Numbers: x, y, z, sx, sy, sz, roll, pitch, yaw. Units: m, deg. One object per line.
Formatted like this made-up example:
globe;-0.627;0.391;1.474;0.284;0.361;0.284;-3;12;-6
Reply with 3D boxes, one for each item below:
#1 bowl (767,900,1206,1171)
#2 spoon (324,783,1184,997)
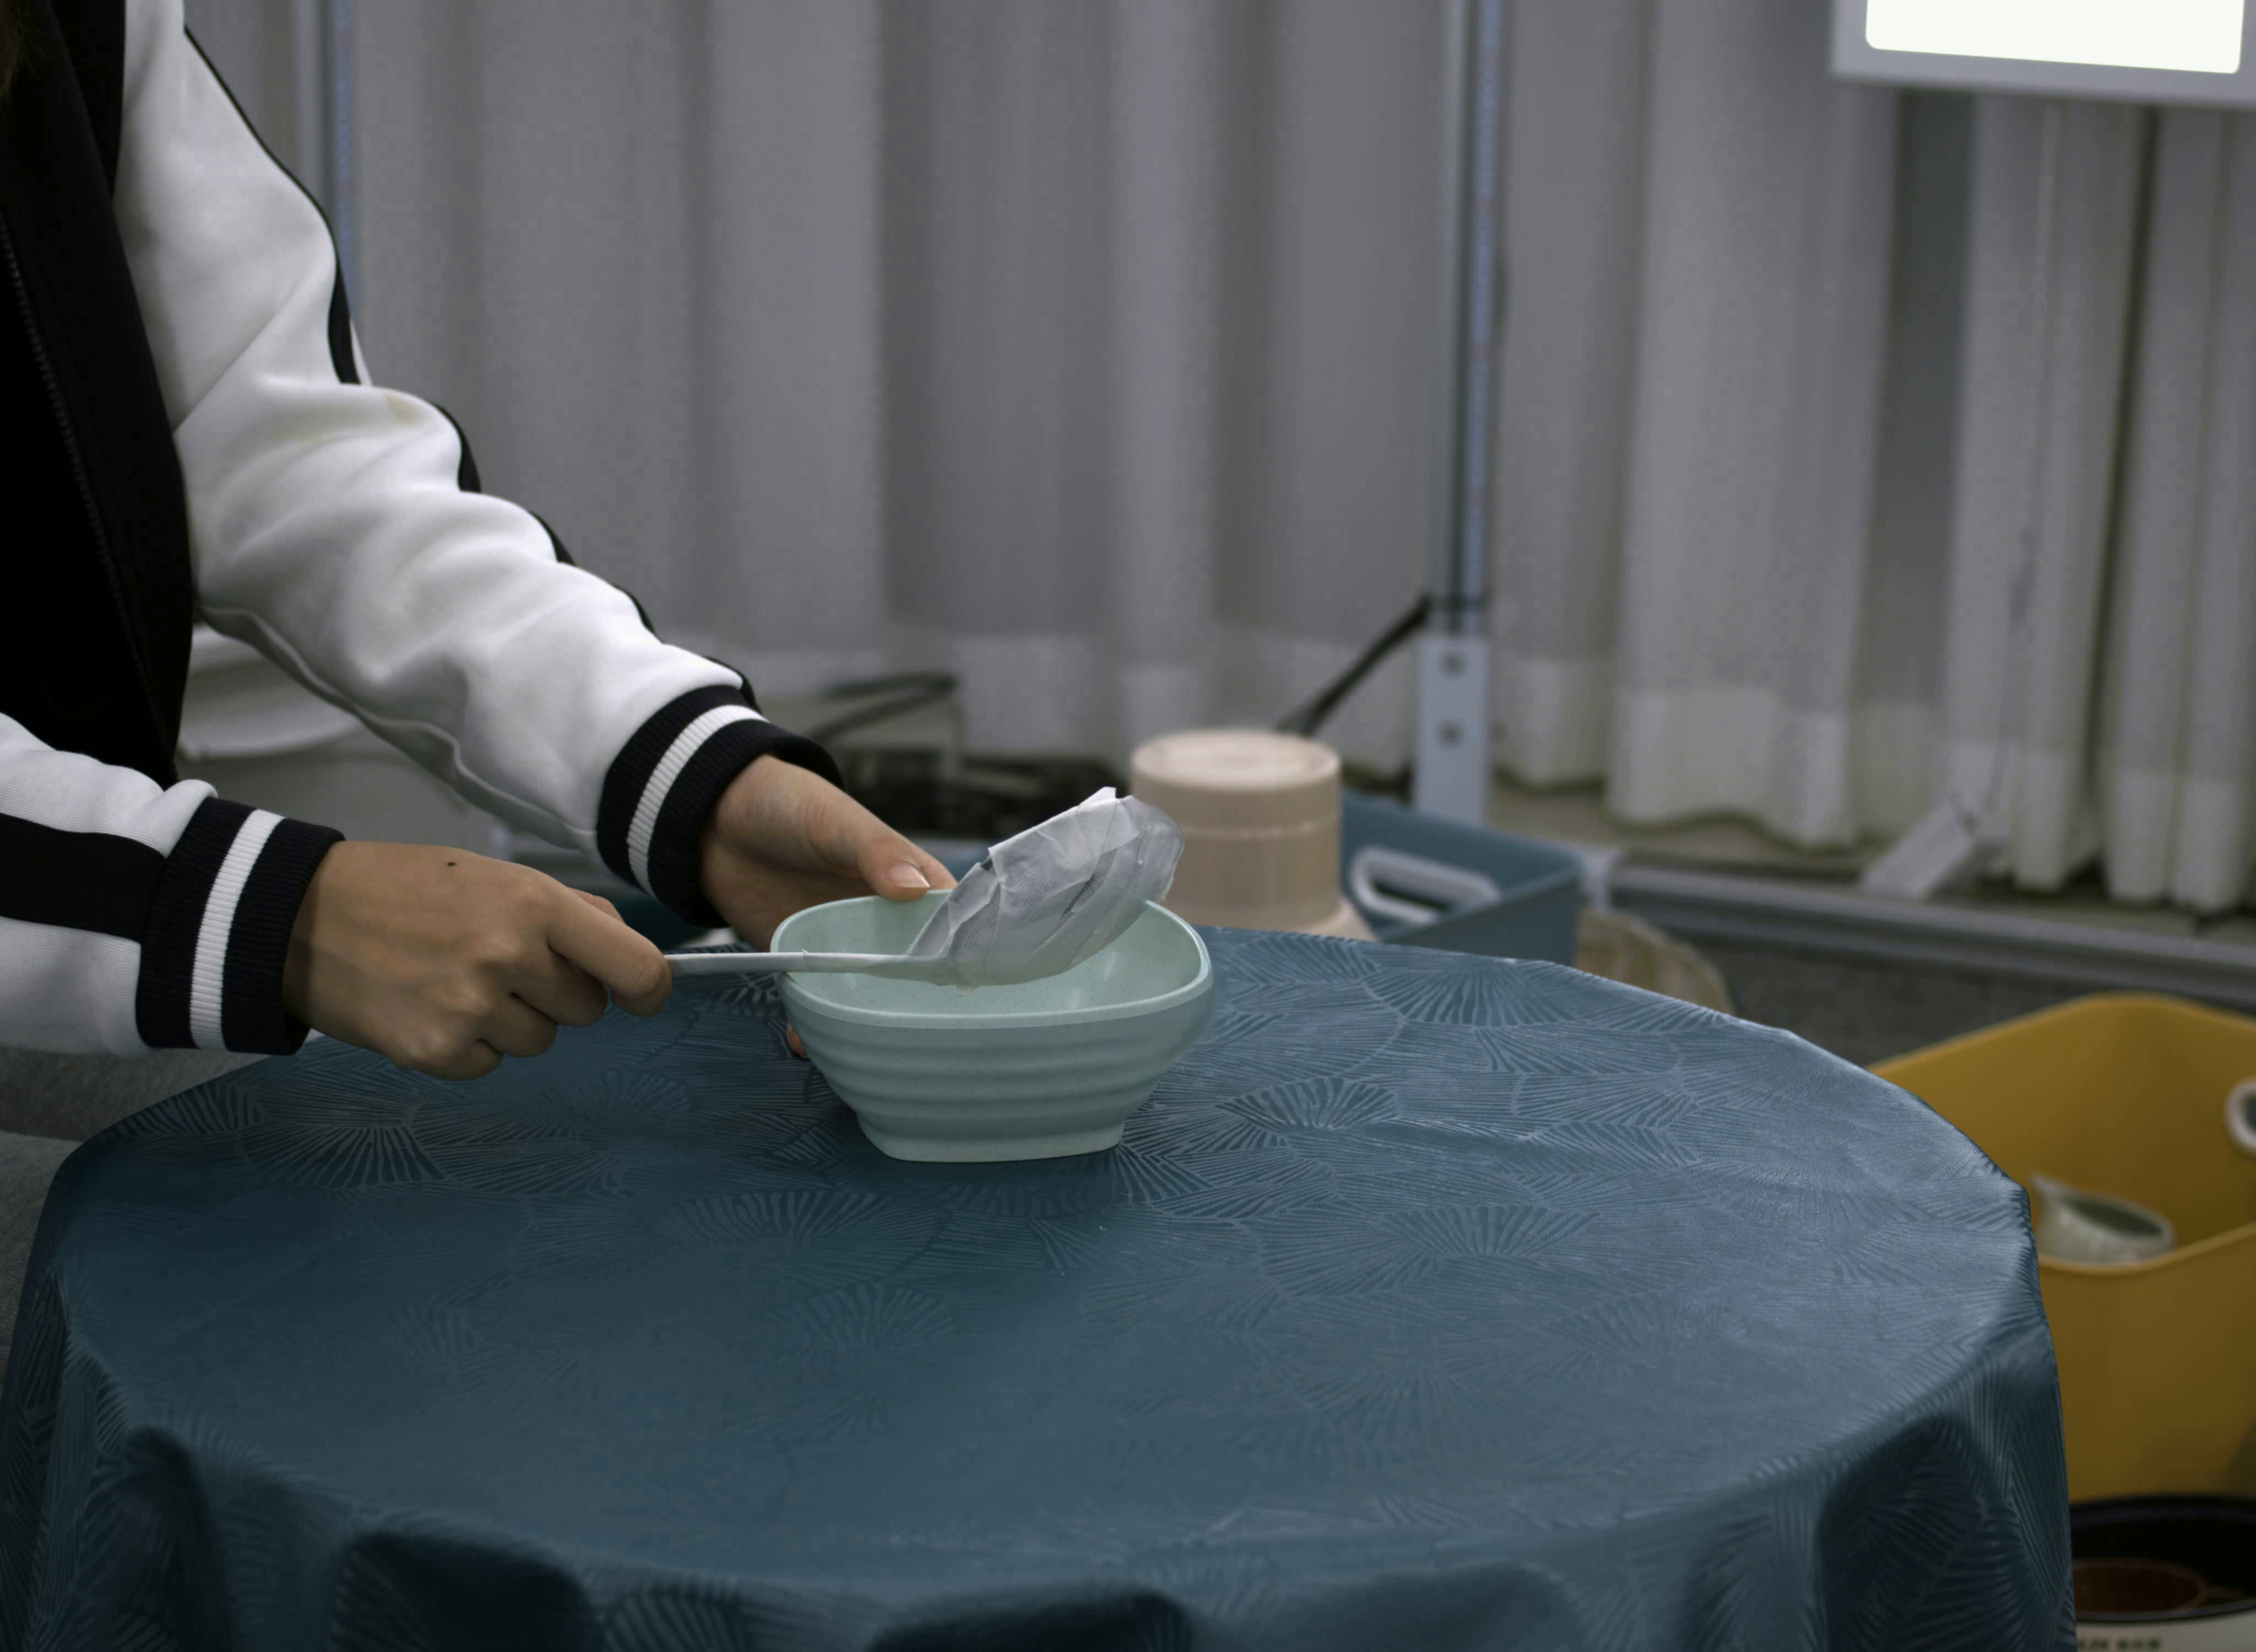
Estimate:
bowl;-0.045;0.069;1.678;0.151;0.059;0.150;1;15;0
spoon;-0.119;0.024;1.657;0.275;0.059;0.102;-1;-27;14
